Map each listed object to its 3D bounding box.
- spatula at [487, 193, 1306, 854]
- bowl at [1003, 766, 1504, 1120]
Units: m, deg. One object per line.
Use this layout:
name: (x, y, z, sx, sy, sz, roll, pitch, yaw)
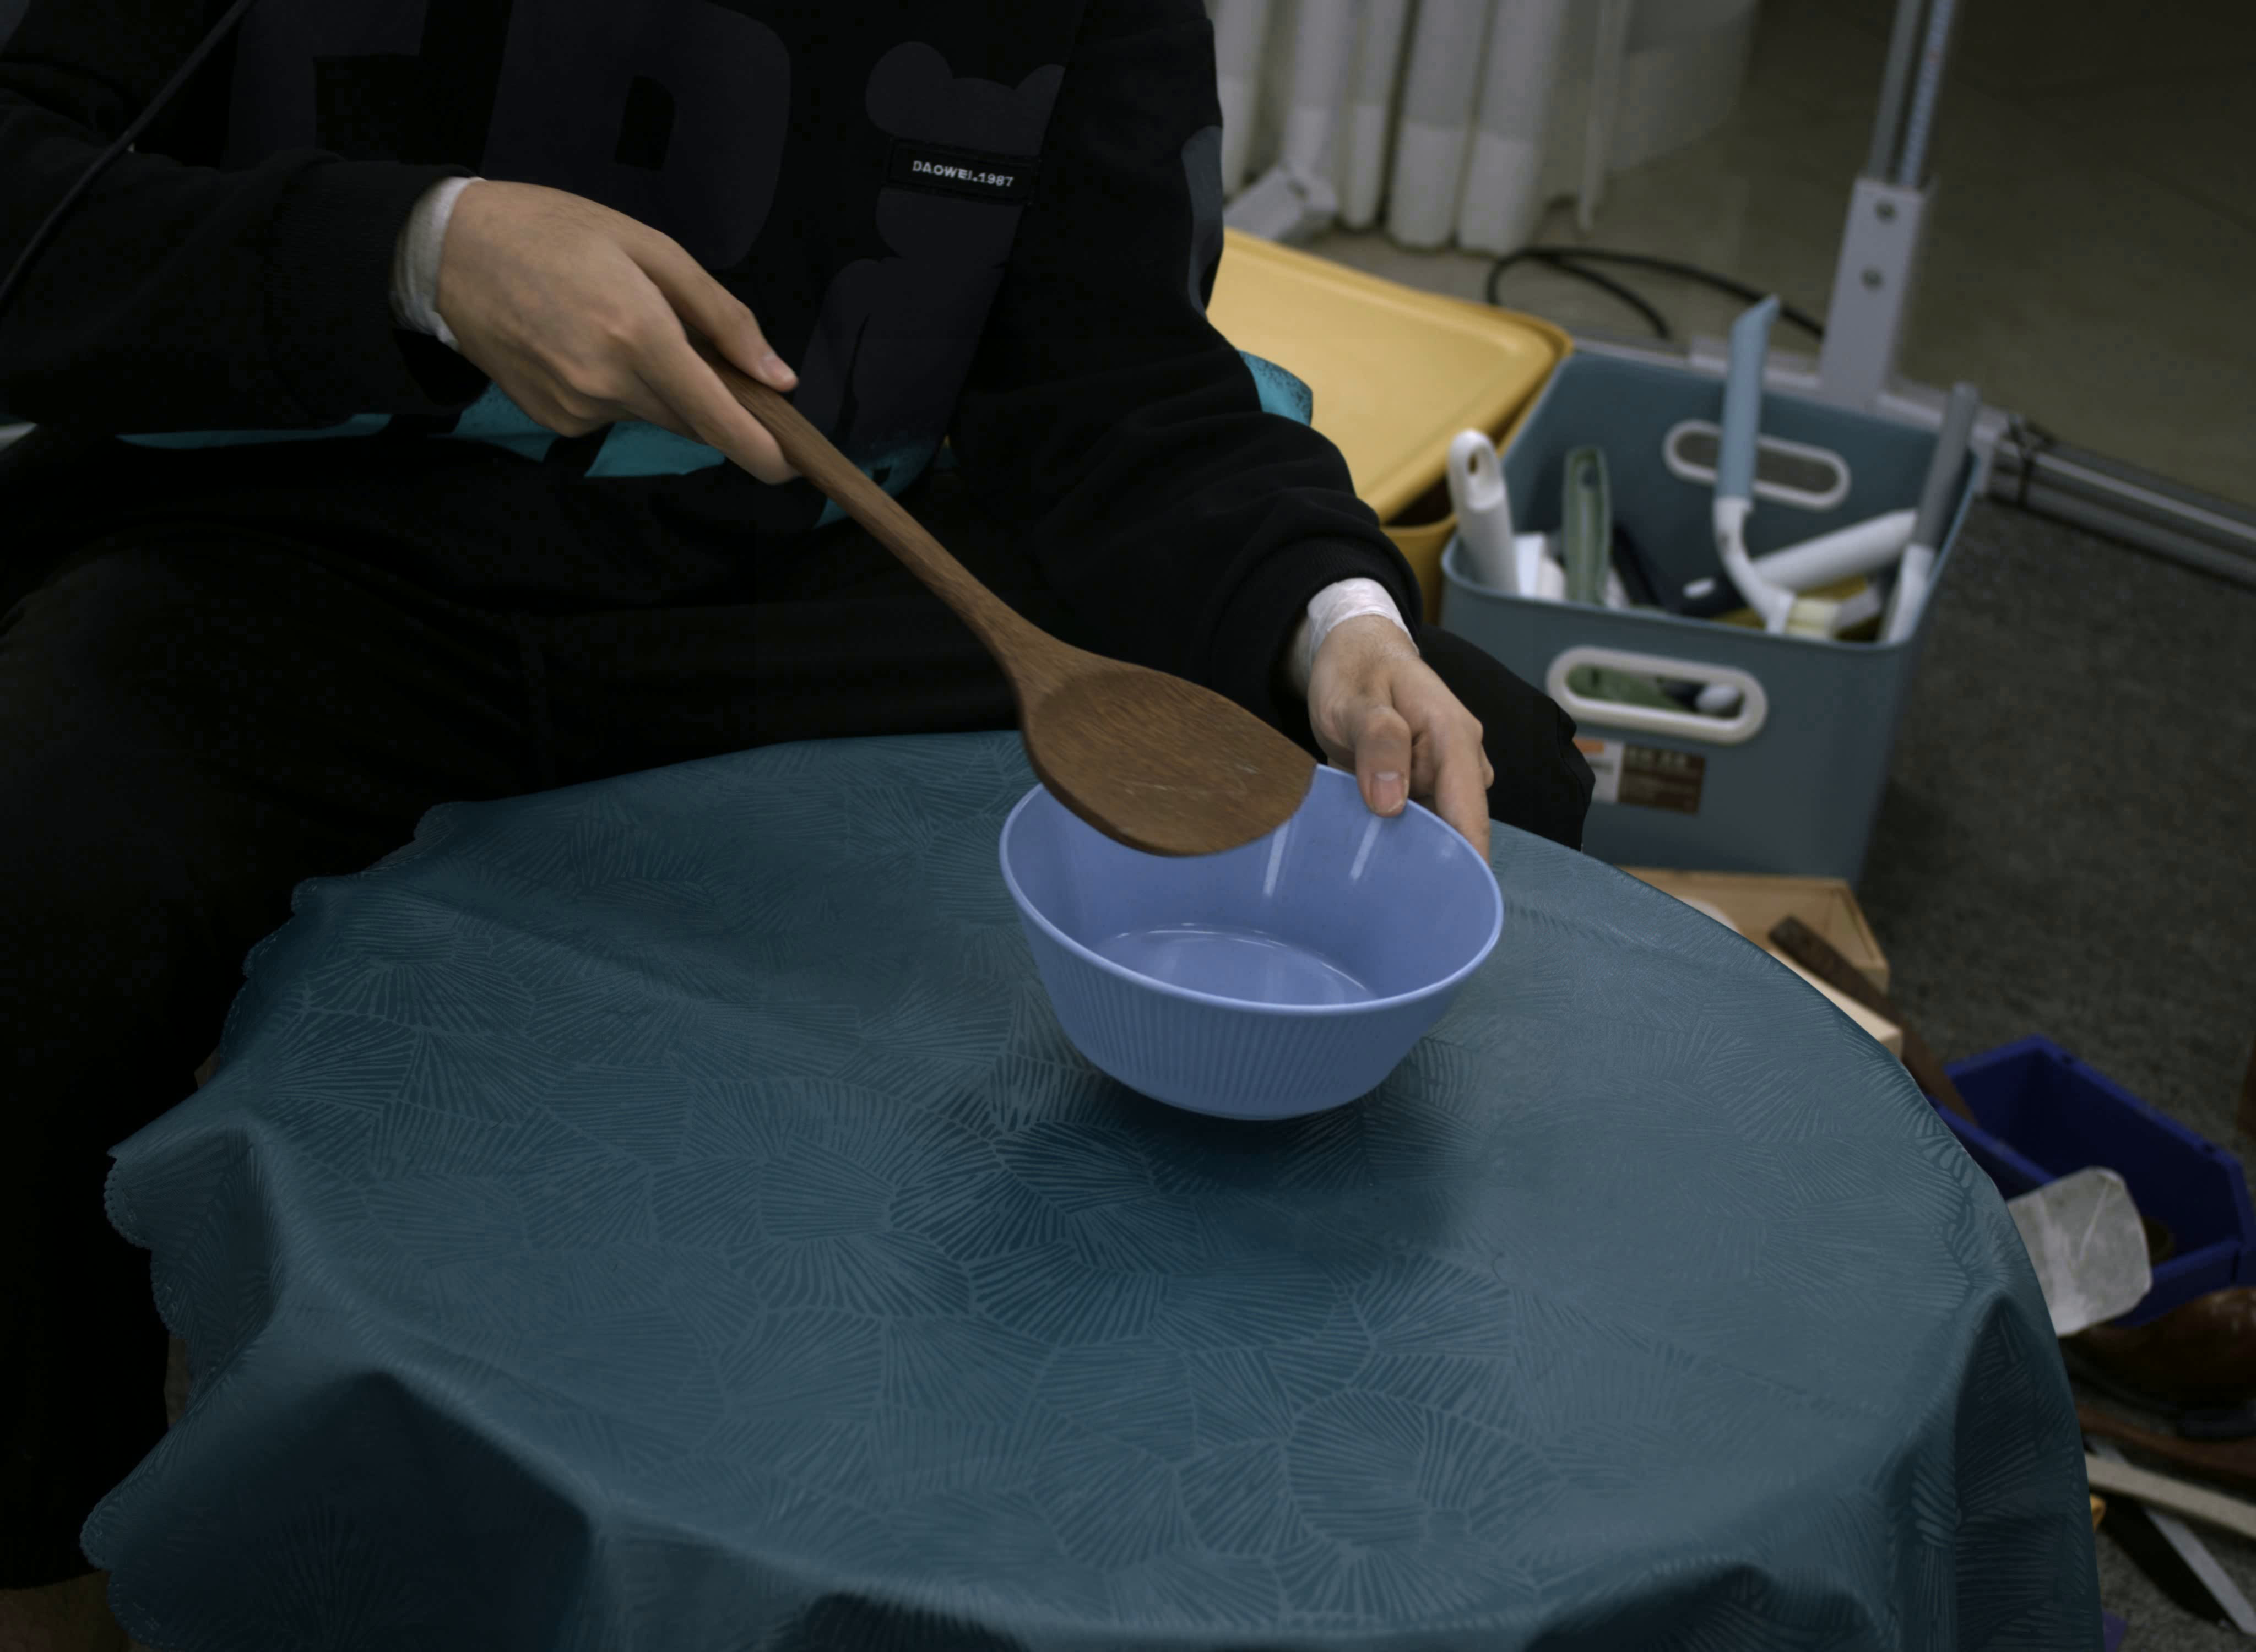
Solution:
spatula: (-0.094, -0.113, 1.858, 0.388, 0.016, 0.096, 41, 42, 23)
bowl: (0.039, 0.045, 1.849, 0.175, 0.070, 0.177, 6, 28, -4)
